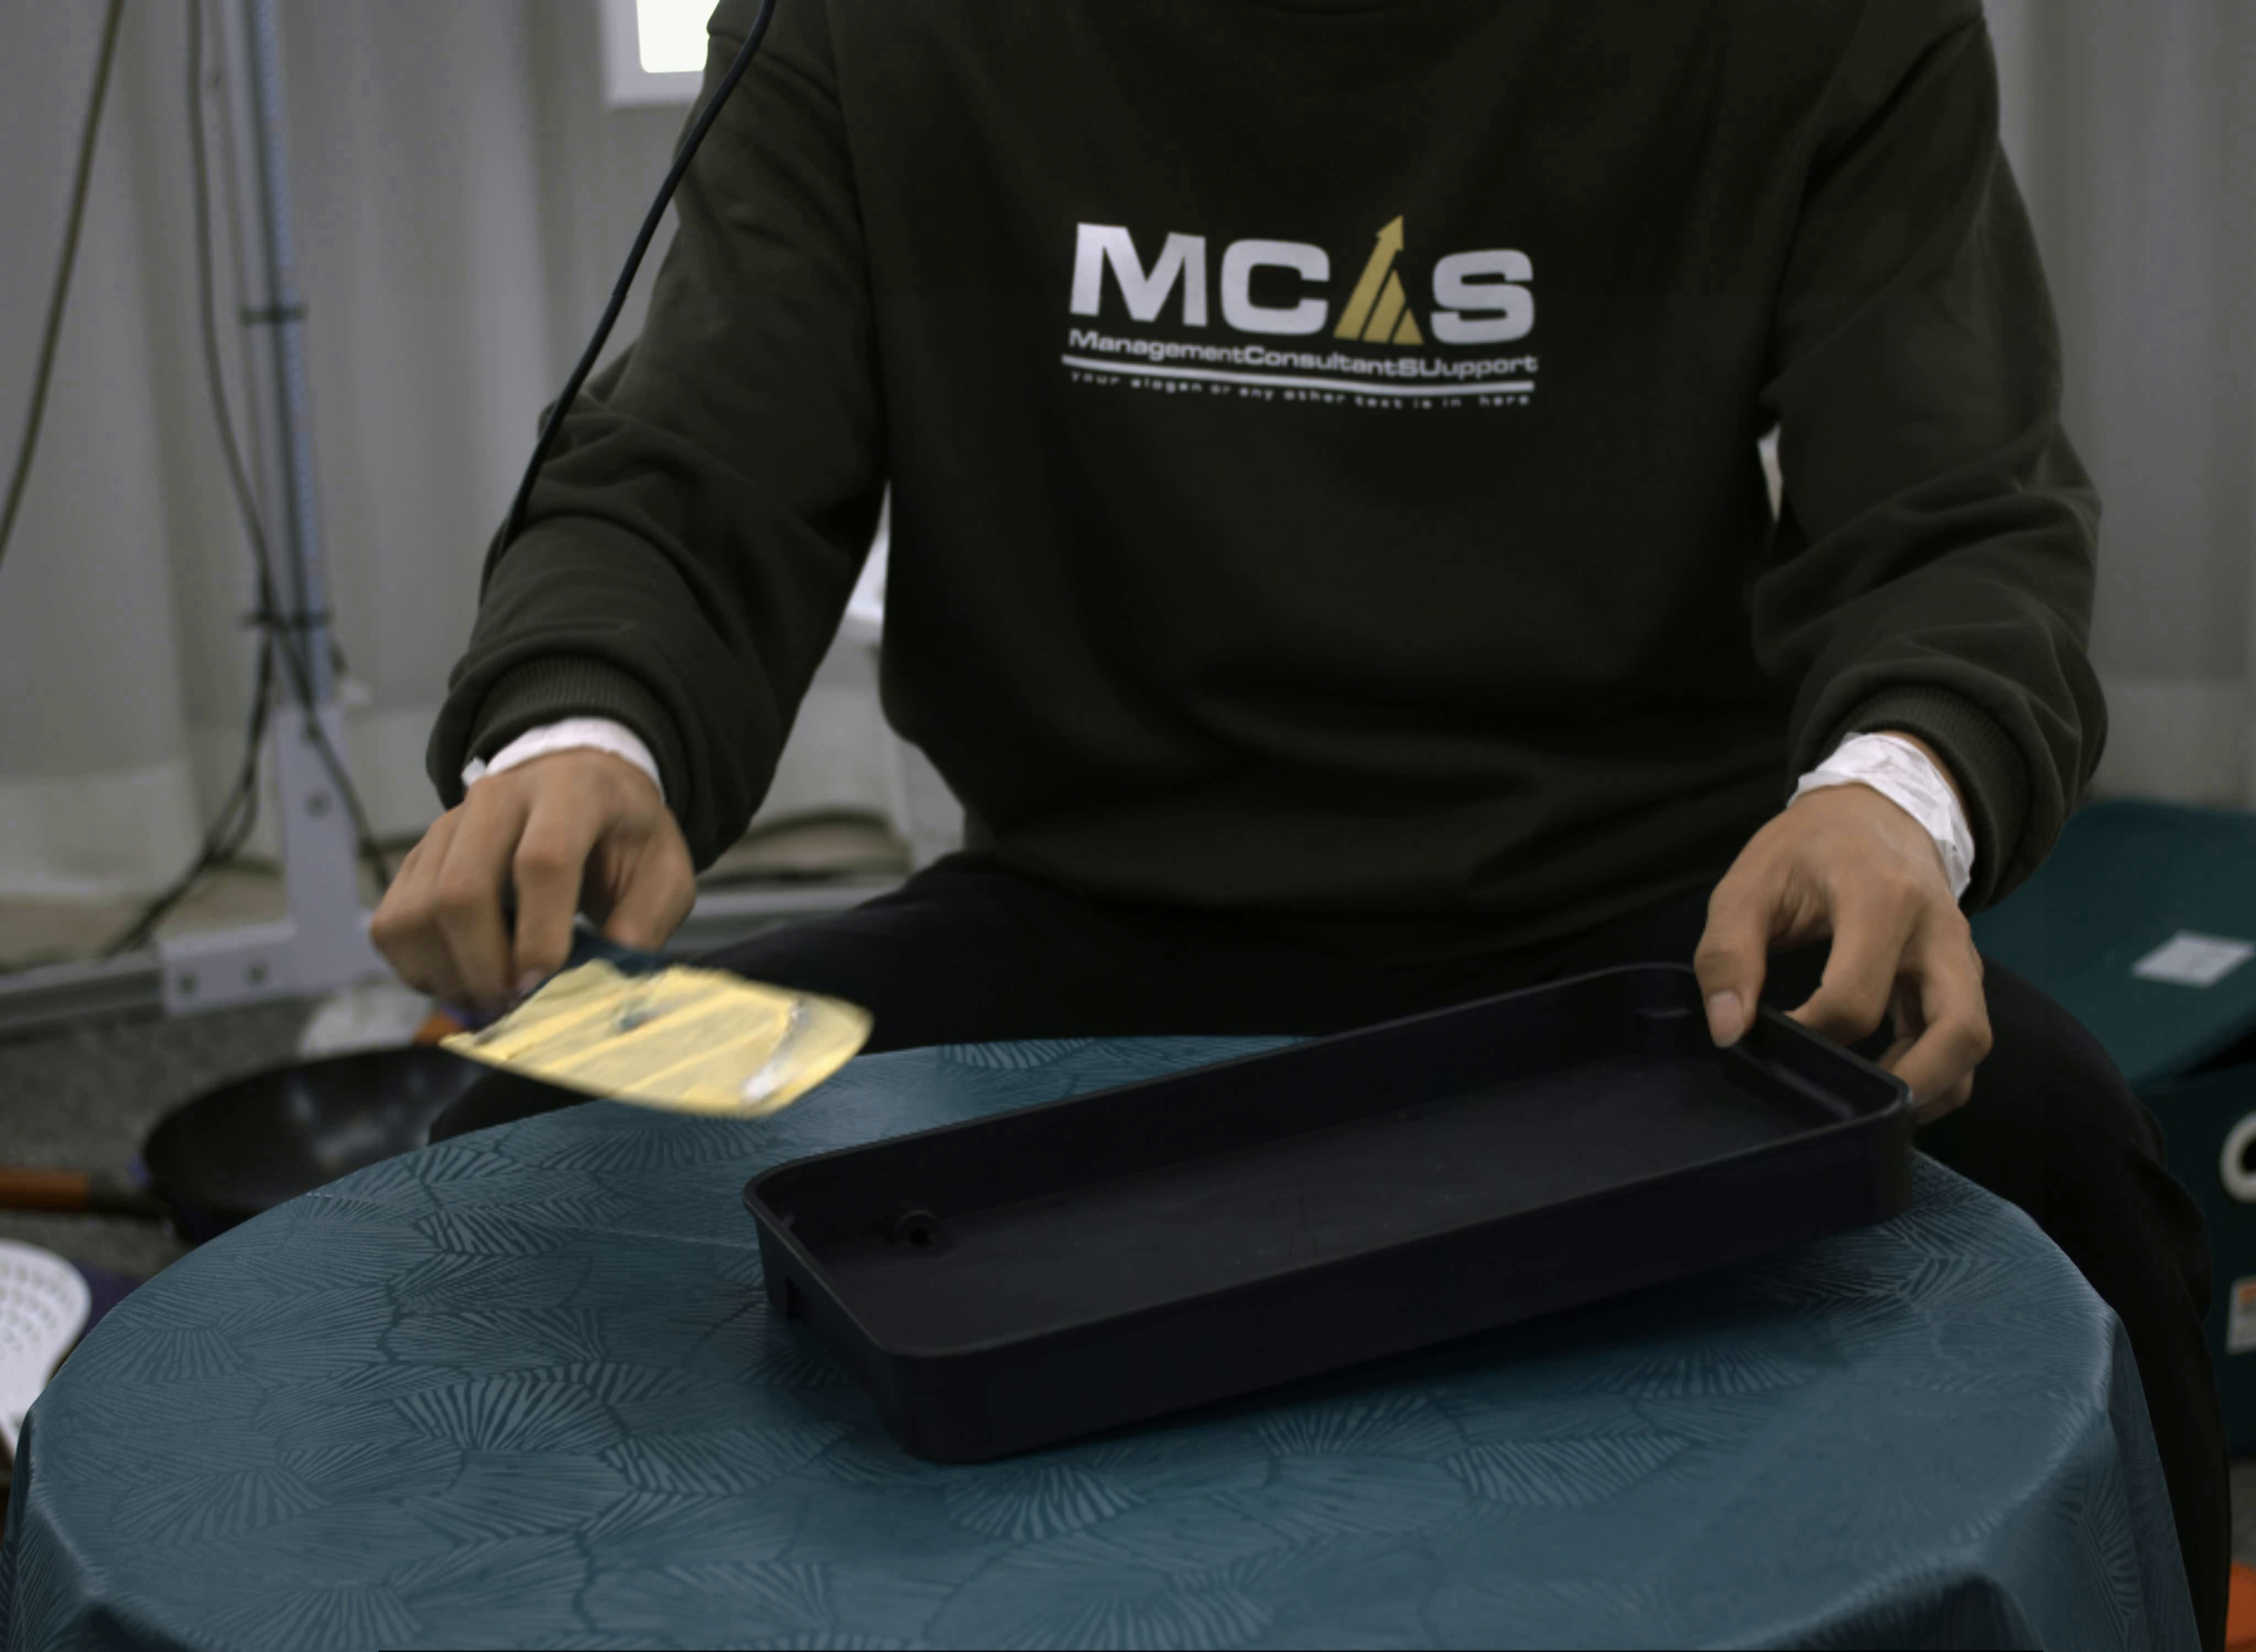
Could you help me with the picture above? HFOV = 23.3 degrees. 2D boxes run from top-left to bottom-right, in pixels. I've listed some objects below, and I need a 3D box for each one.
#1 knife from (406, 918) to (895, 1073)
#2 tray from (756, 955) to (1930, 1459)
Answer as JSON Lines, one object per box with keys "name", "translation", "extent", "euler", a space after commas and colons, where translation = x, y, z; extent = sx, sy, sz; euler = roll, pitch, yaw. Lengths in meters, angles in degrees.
{"name": "knife", "translation": [-0.153, 0.052, 1.604], "extent": [0.081, 0.027, 0.291], "euler": [-20, 13, -29]}
{"name": "tray", "translation": [0.063, 0.107, 1.613], "extent": [0.317, 0.037, 0.185], "euler": [-14, 16, -18]}
